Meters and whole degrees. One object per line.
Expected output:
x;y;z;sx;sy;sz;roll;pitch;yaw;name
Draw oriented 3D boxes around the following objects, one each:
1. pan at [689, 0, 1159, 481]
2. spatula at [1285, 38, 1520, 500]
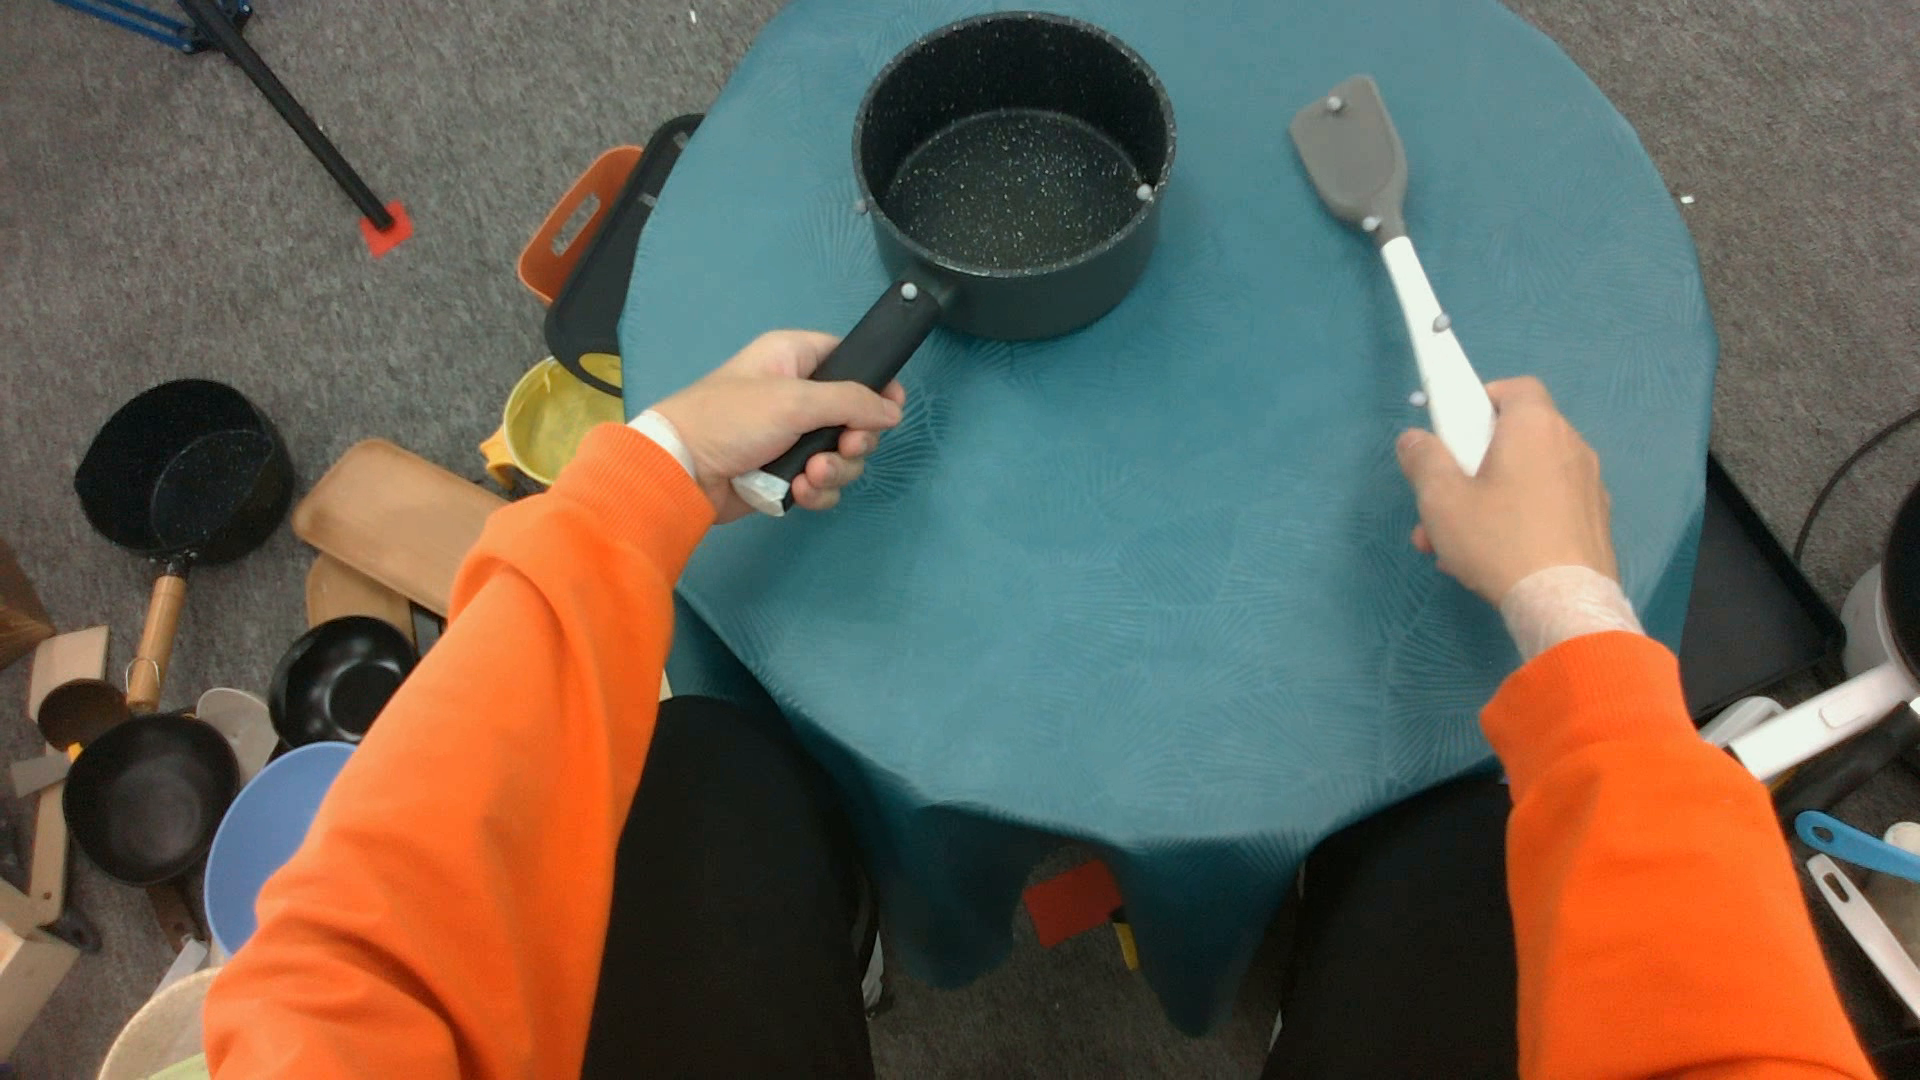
-0.023;-0.148;0.726;0.172;0.086;0.330;30;69;14;pan
0.227;-0.148;0.711;0.058;0.032;0.288;-27;53;29;spatula
